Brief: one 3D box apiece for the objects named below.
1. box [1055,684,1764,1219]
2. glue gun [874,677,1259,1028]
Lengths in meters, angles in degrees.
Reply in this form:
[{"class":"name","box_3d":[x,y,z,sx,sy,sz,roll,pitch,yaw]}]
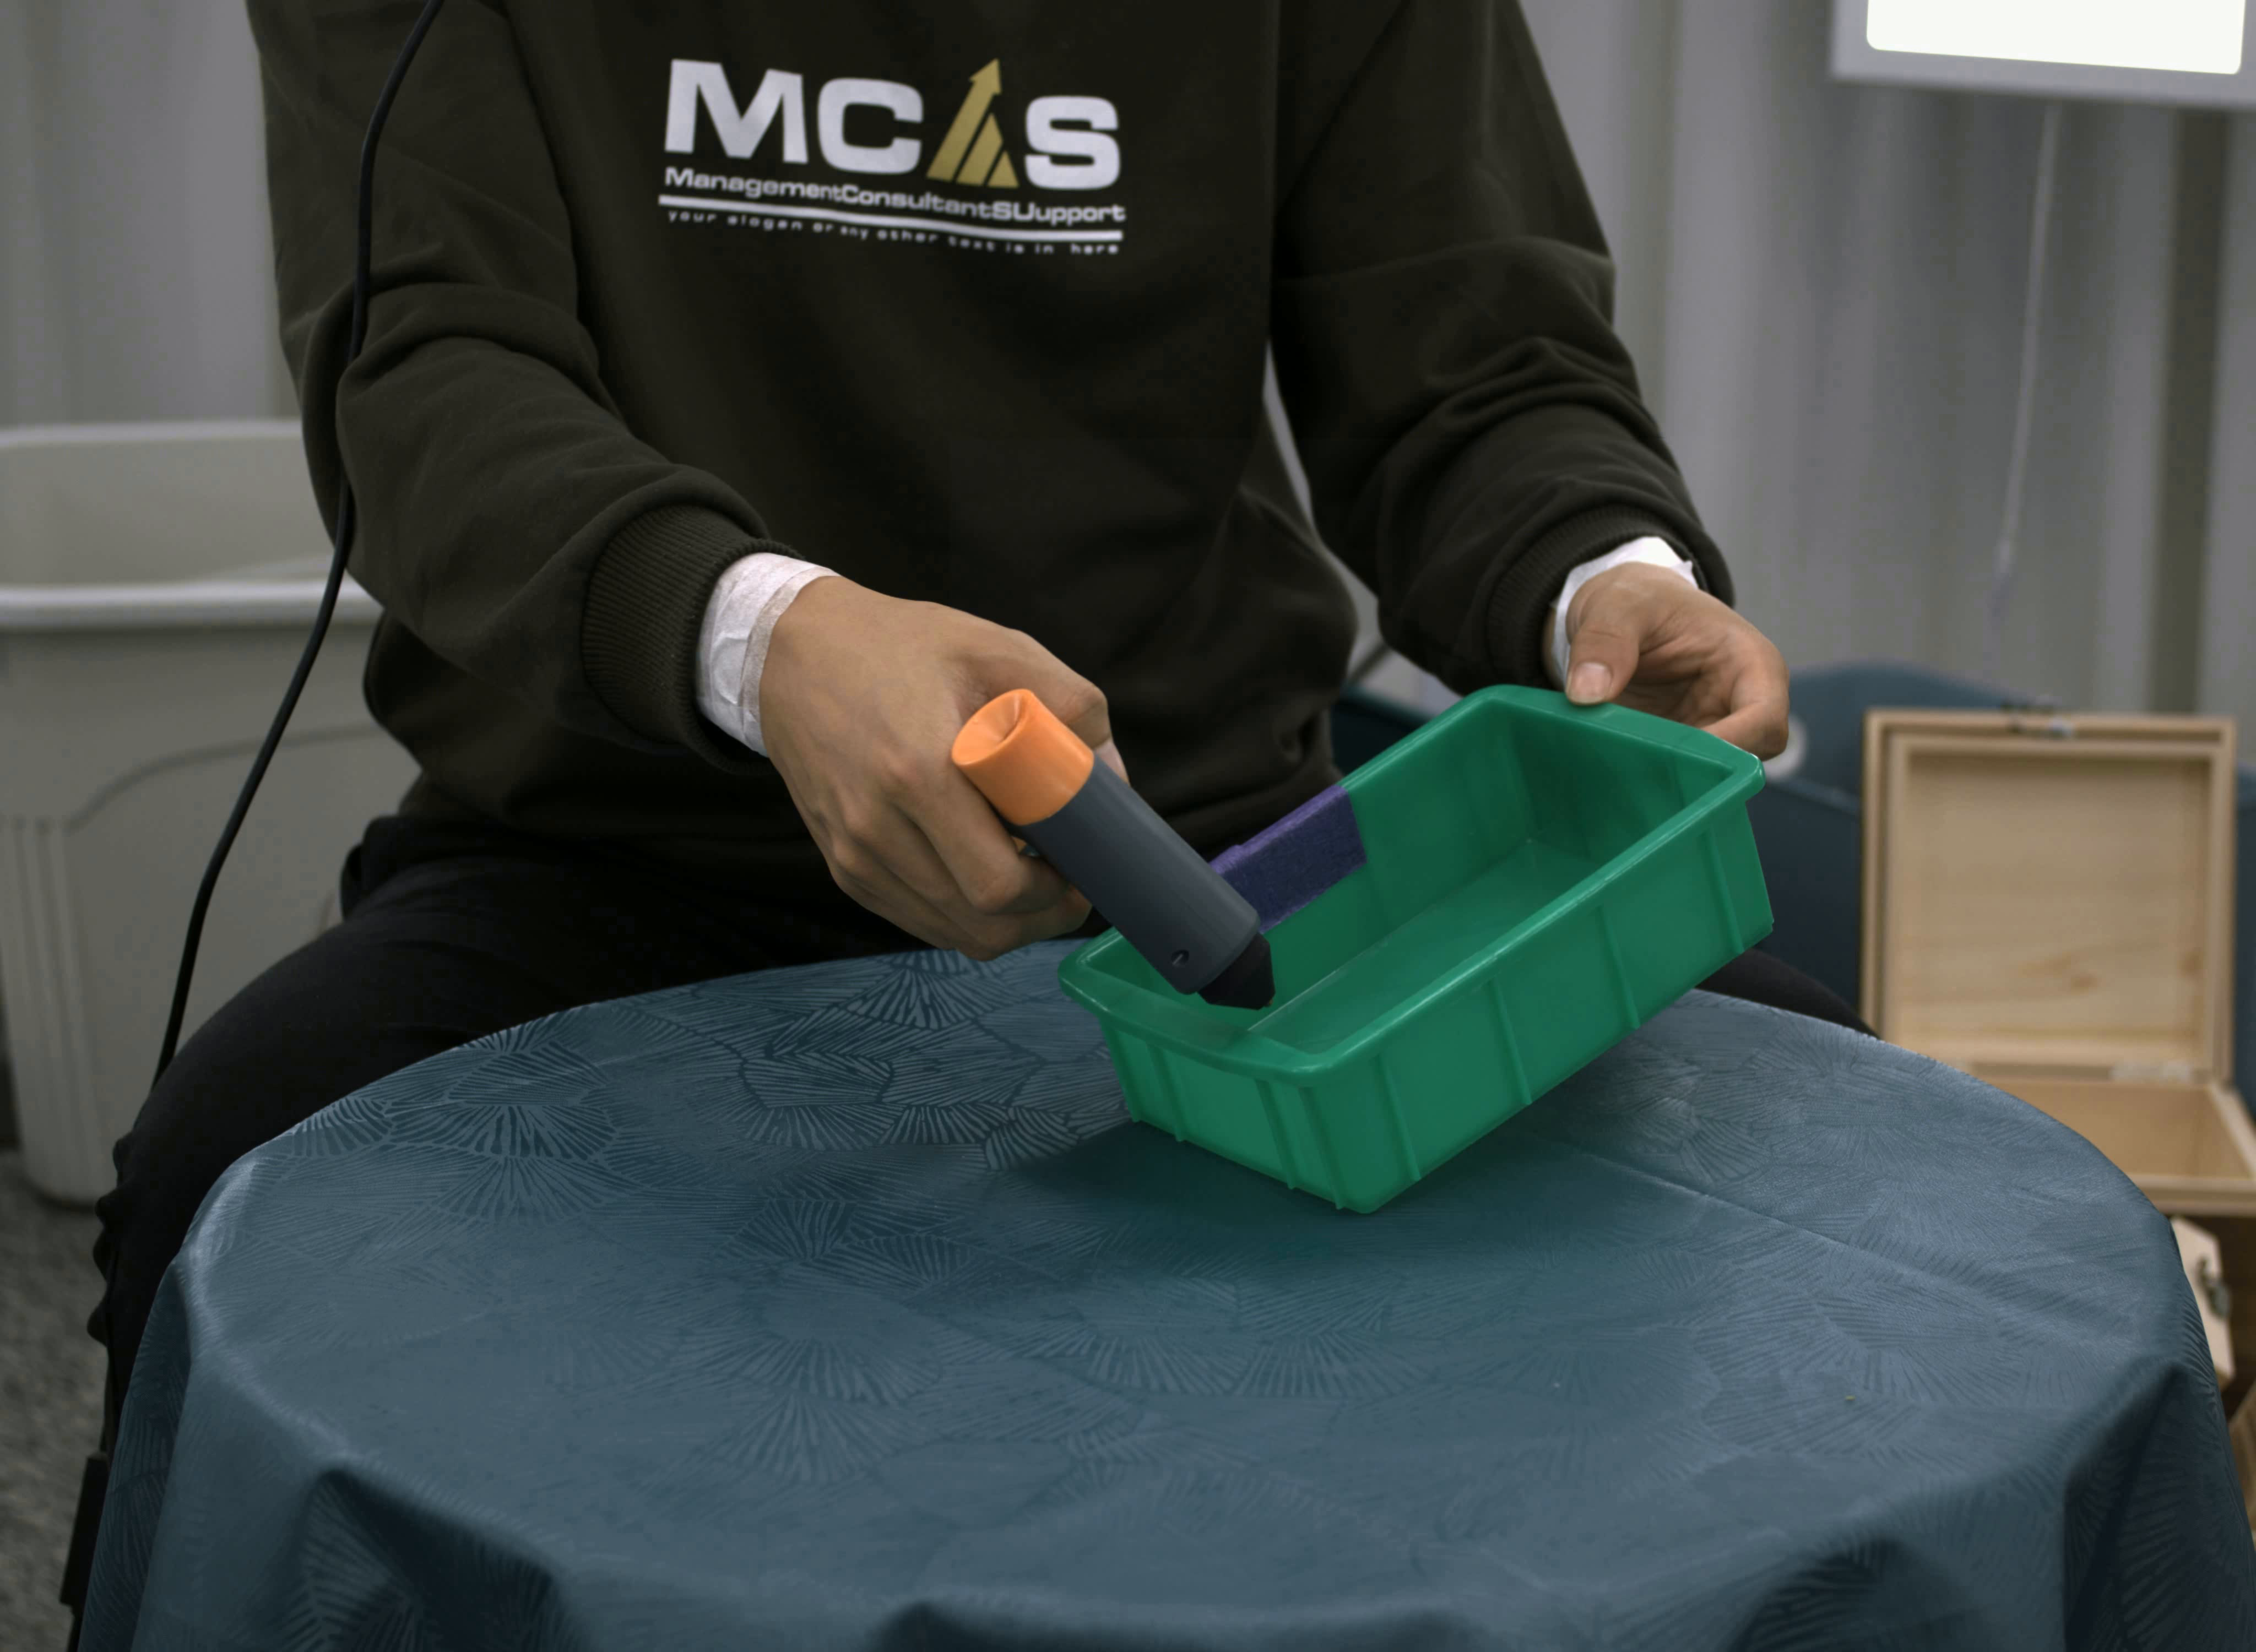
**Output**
[{"class":"box","box_3d":[0.095,0.040,1.676,0.210,0.066,0.137,-35,31,-28]},{"class":"glue gun","box_3d":[-0.019,0.004,1.628,0.041,0.119,0.138,-41,27,-14]}]
